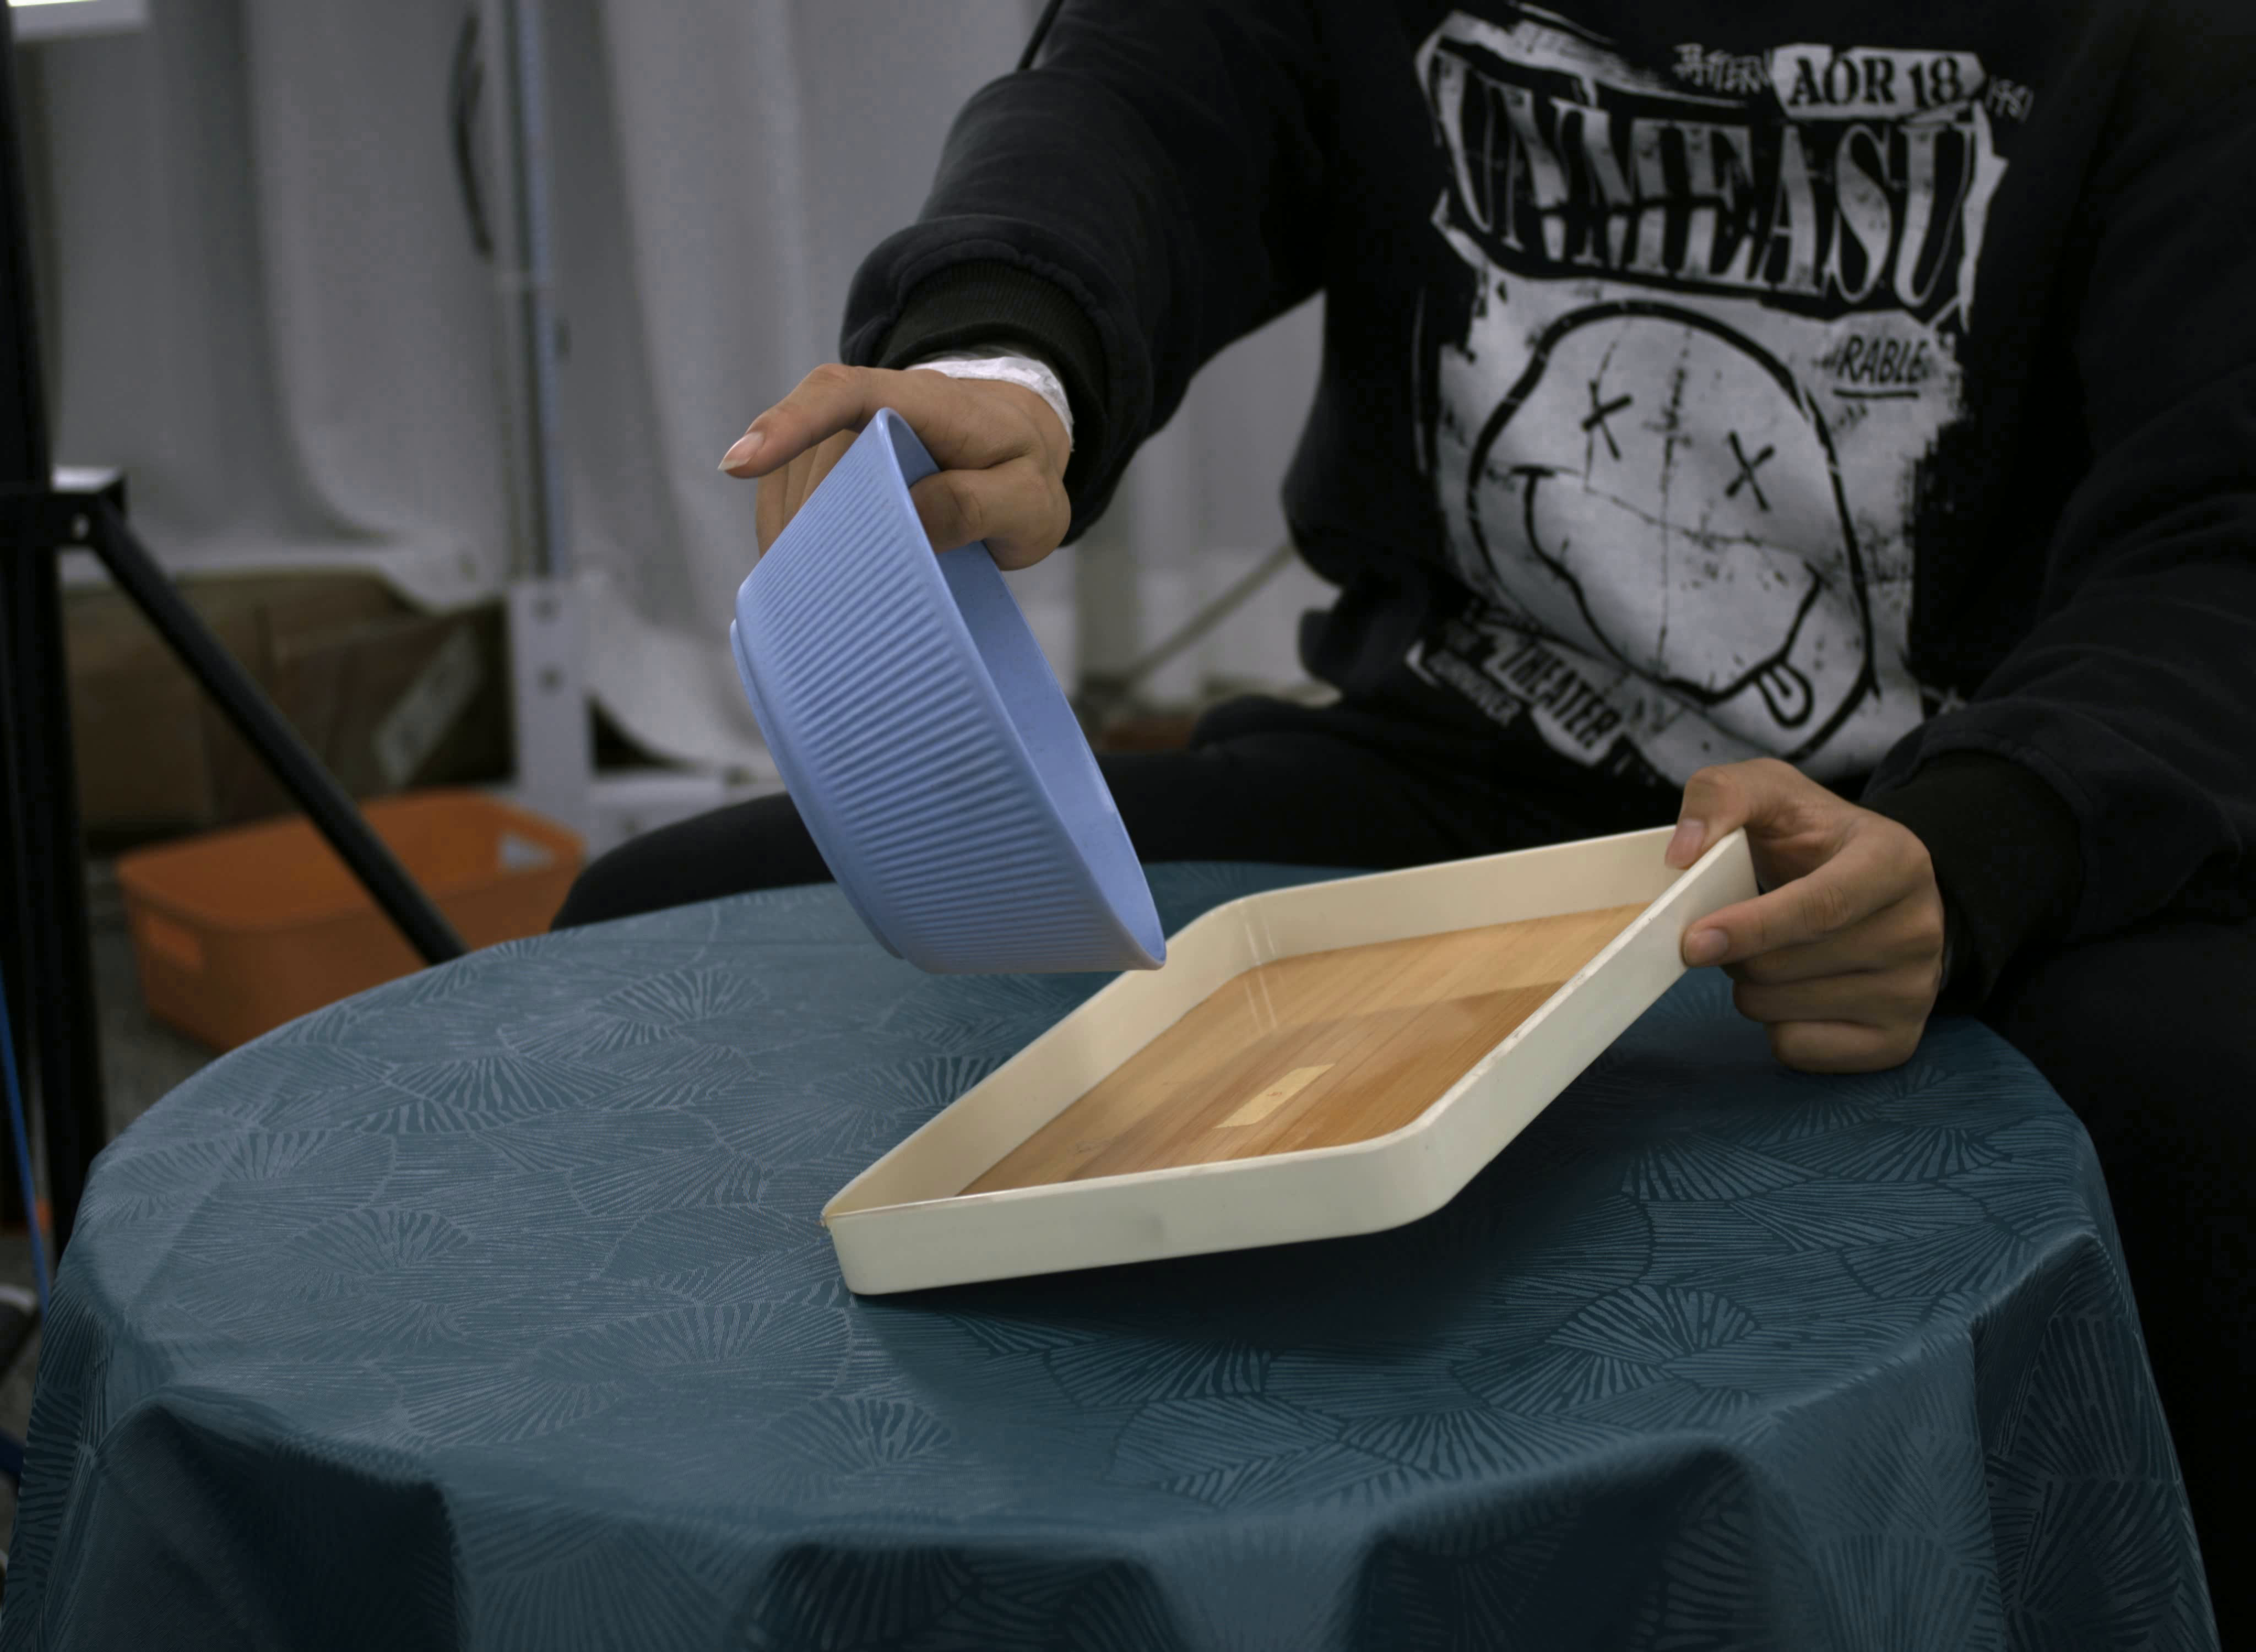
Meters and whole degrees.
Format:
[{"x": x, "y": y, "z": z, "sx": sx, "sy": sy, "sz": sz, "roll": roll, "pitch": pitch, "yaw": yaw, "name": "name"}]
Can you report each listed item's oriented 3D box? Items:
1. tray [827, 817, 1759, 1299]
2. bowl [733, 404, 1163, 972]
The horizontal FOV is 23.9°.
[{"x": 0.056, "y": 0.066, "z": 1.561, "sx": 0.194, "sy": 0.027, "sz": 0.296, "roll": -10, "pitch": 13, "yaw": 29, "name": "tray"}, {"x": -0.057, "y": -0.026, "z": 1.504, "sx": 0.070, "sy": 0.175, "sz": 0.177, "roll": -26, "pitch": 15, "yaw": 5, "name": "bowl"}]
